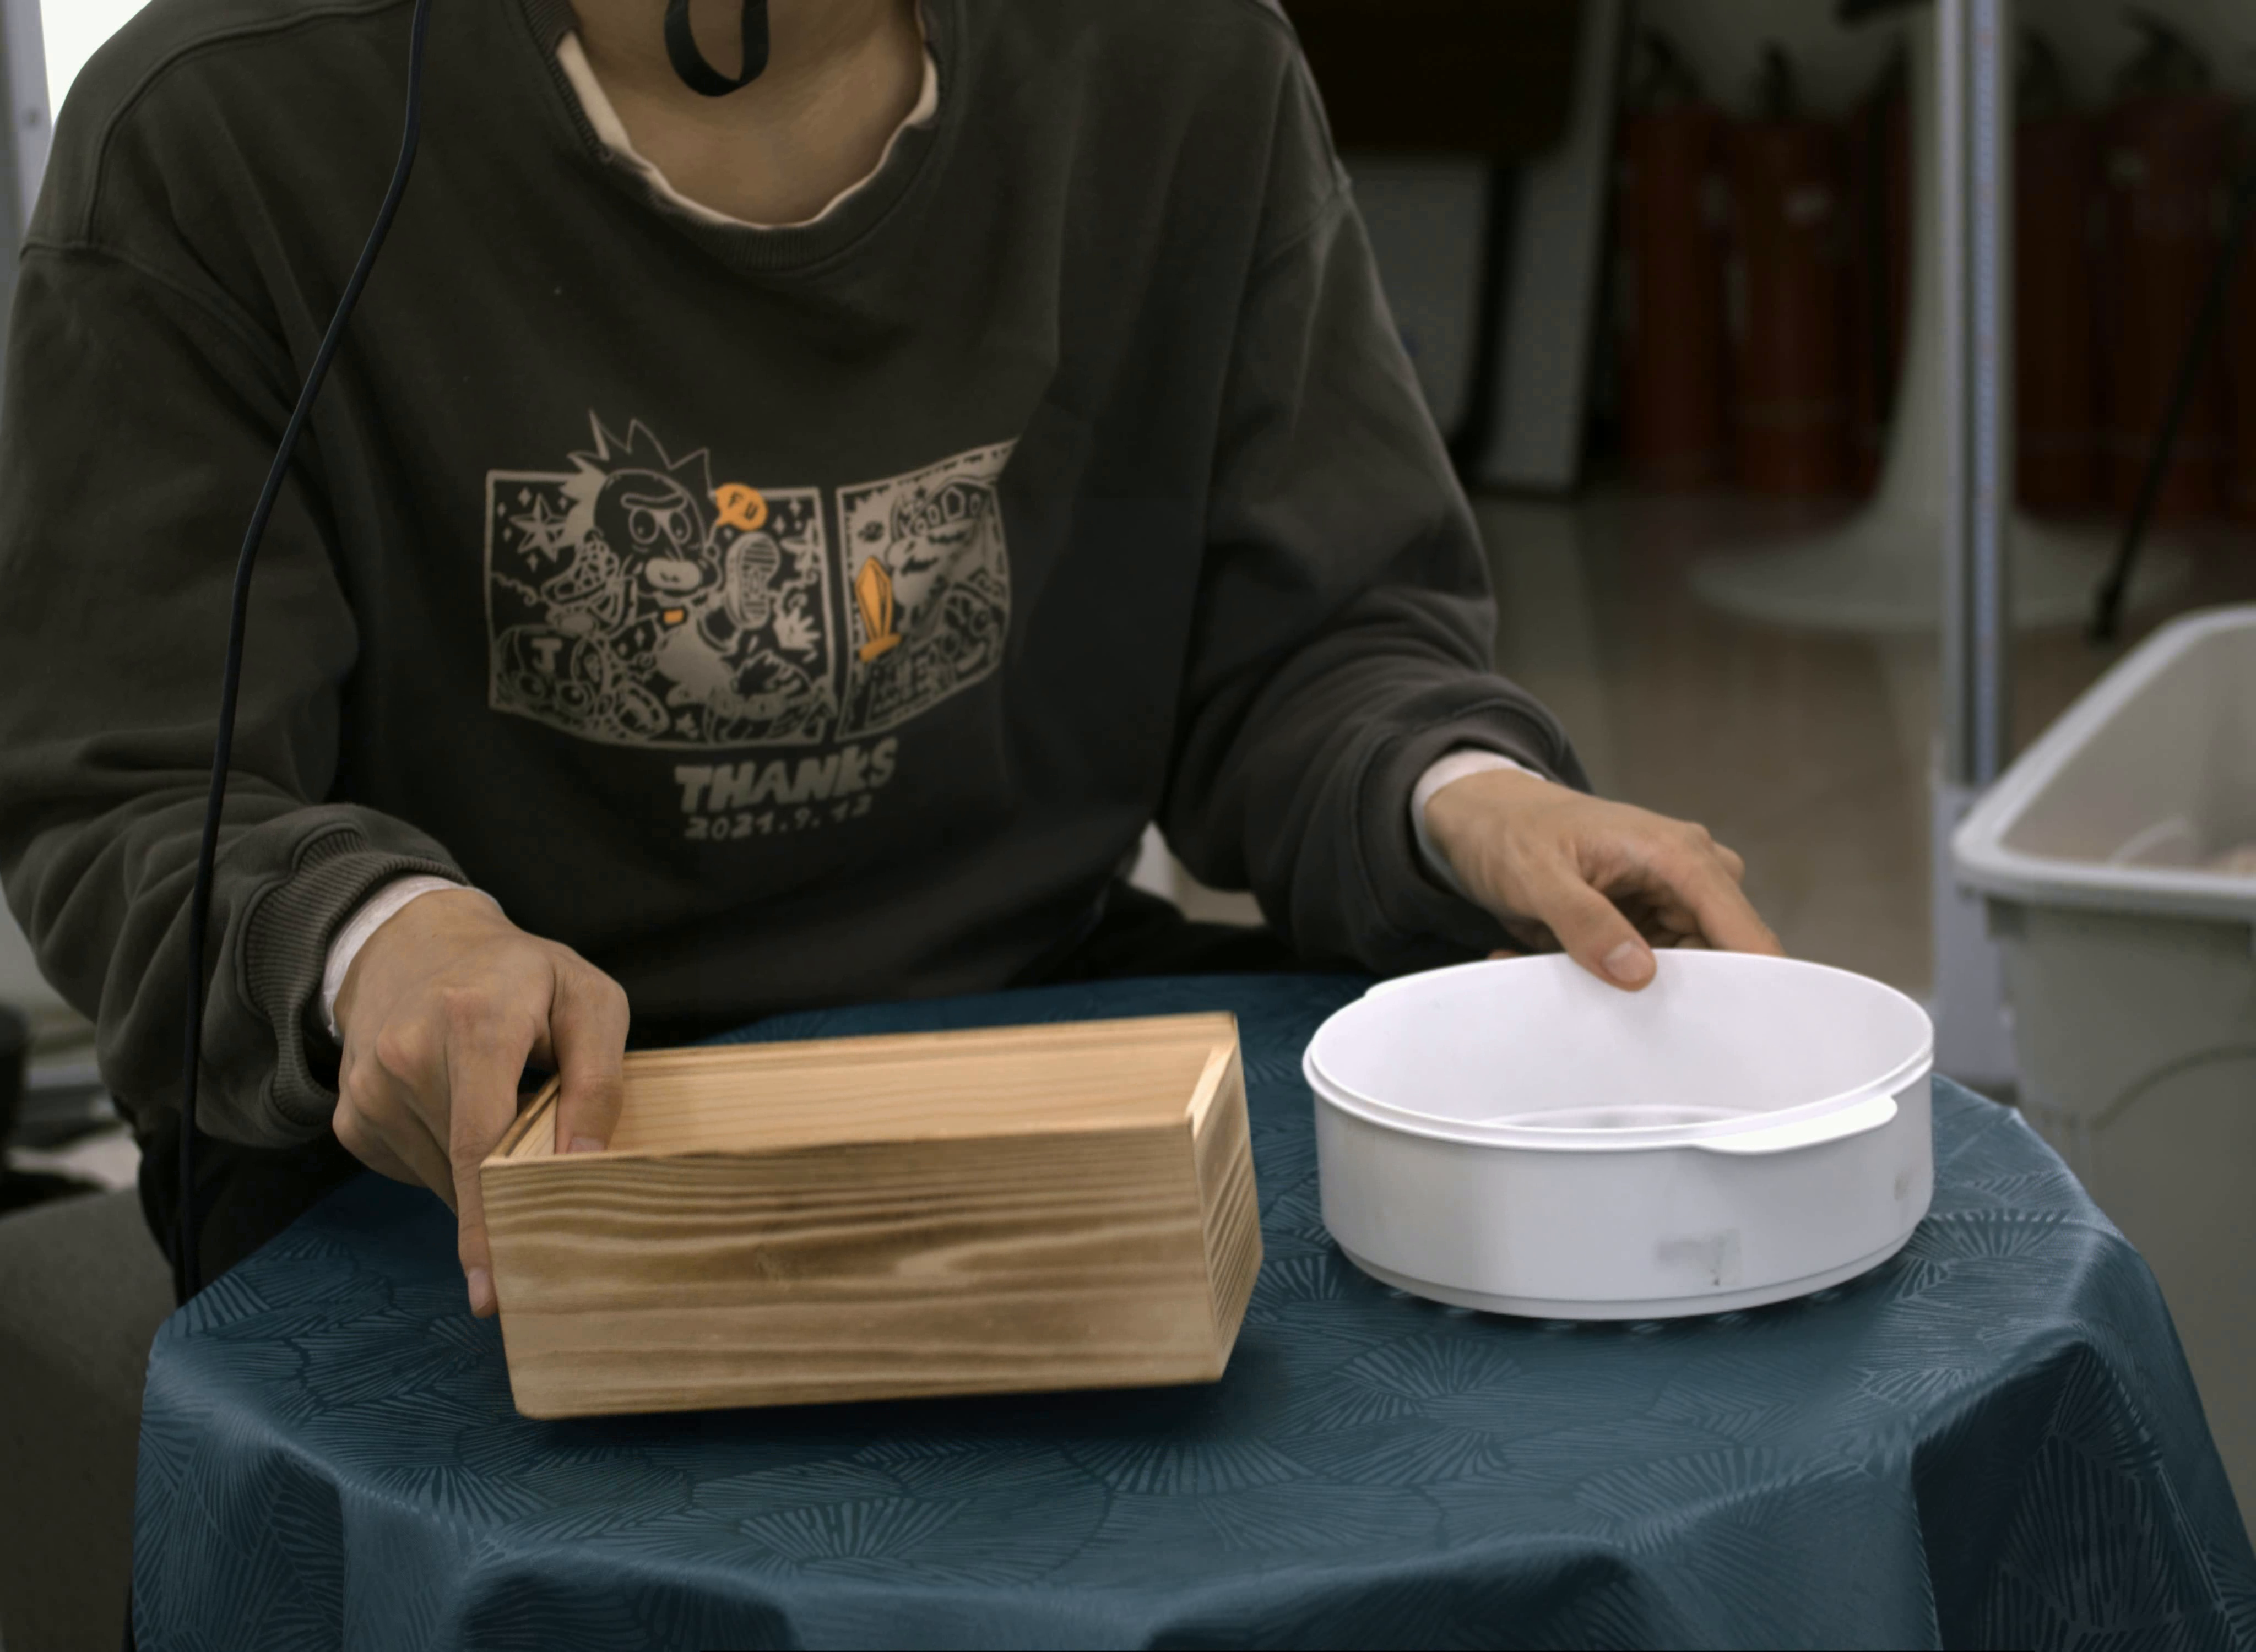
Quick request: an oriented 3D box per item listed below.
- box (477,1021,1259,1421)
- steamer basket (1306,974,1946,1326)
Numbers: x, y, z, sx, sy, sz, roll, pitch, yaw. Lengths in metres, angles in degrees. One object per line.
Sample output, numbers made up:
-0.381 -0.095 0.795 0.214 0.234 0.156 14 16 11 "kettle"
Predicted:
-0.074 0.115 1.591 0.210 0.081 0.107 -4 13 11 "box"
0.157 0.101 1.681 0.197 0.070 0.233 -11 12 -26 "steamer basket"
